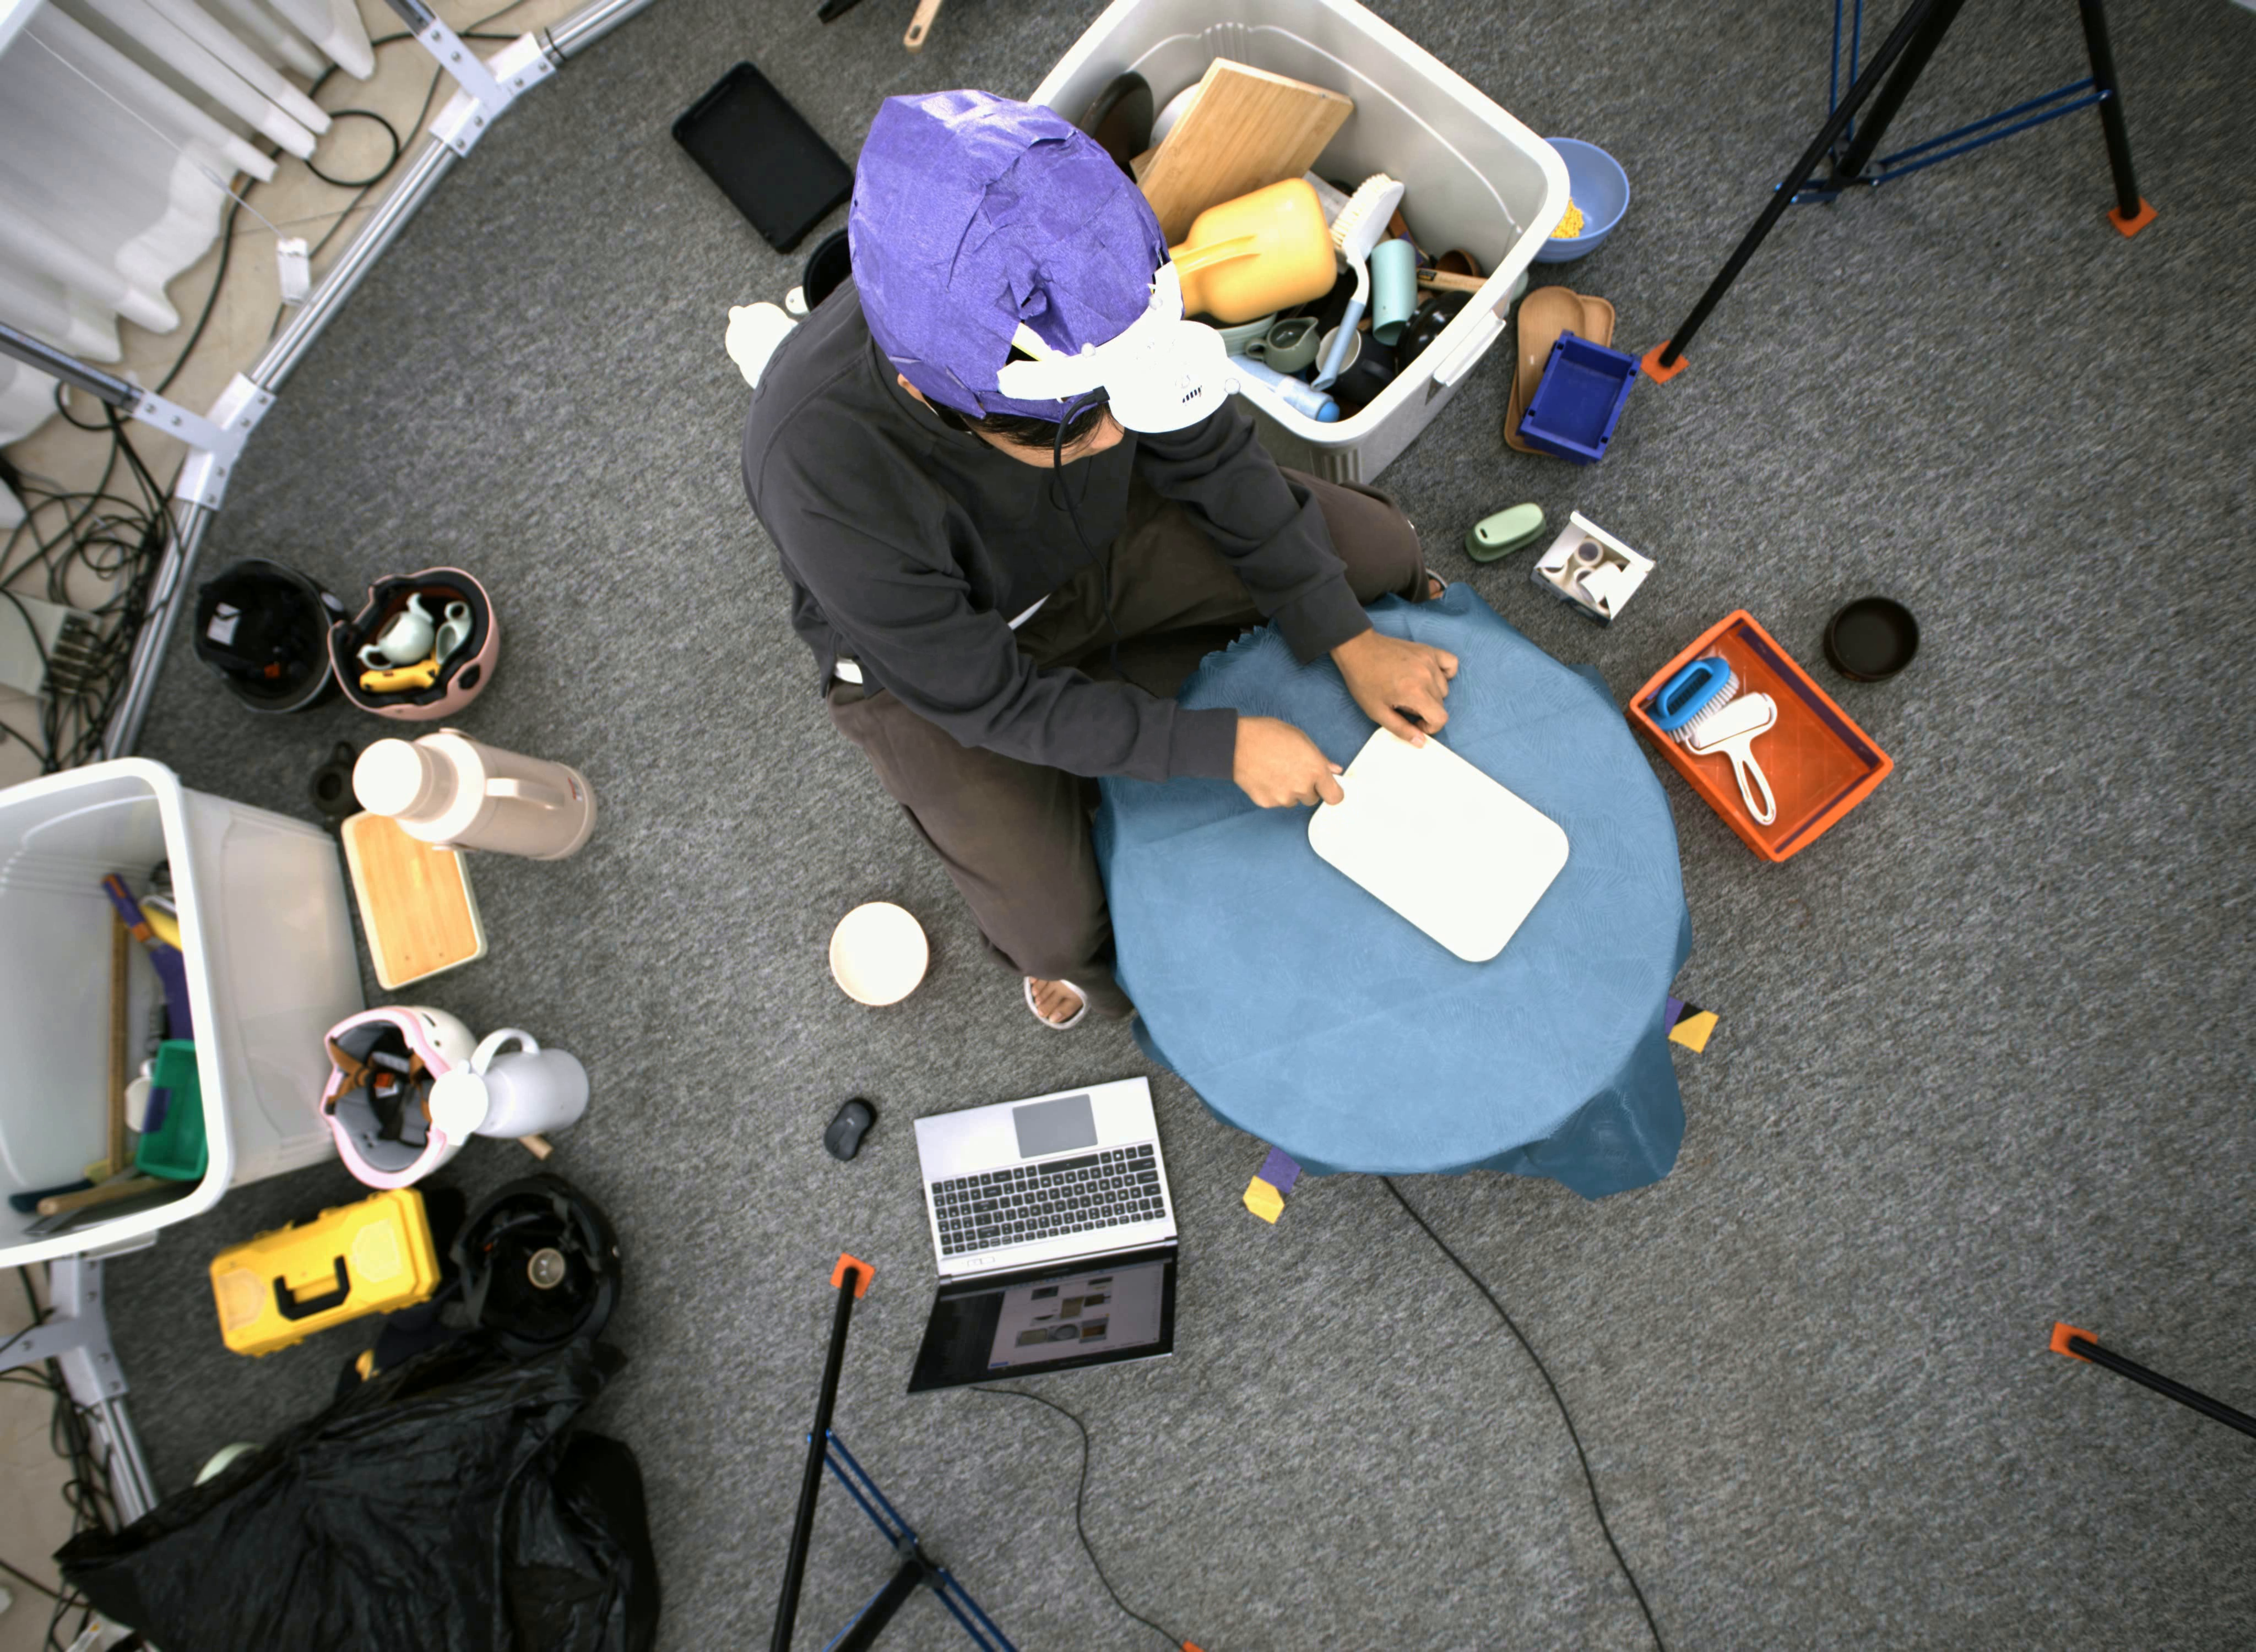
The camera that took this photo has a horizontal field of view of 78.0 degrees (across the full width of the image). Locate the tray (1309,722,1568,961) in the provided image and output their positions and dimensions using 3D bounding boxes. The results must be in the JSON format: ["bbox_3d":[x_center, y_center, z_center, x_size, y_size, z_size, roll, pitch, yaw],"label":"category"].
[{"bbox_3d":[0.324,0.013,1.445,0.239,0.017,0.171,37,93,11],"label":"tray"}]

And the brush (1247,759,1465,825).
[{"bbox_3d":[0.235,-0.038,1.436,0.229,0.050,0.037,11,82,-2],"label":"brush"}]
